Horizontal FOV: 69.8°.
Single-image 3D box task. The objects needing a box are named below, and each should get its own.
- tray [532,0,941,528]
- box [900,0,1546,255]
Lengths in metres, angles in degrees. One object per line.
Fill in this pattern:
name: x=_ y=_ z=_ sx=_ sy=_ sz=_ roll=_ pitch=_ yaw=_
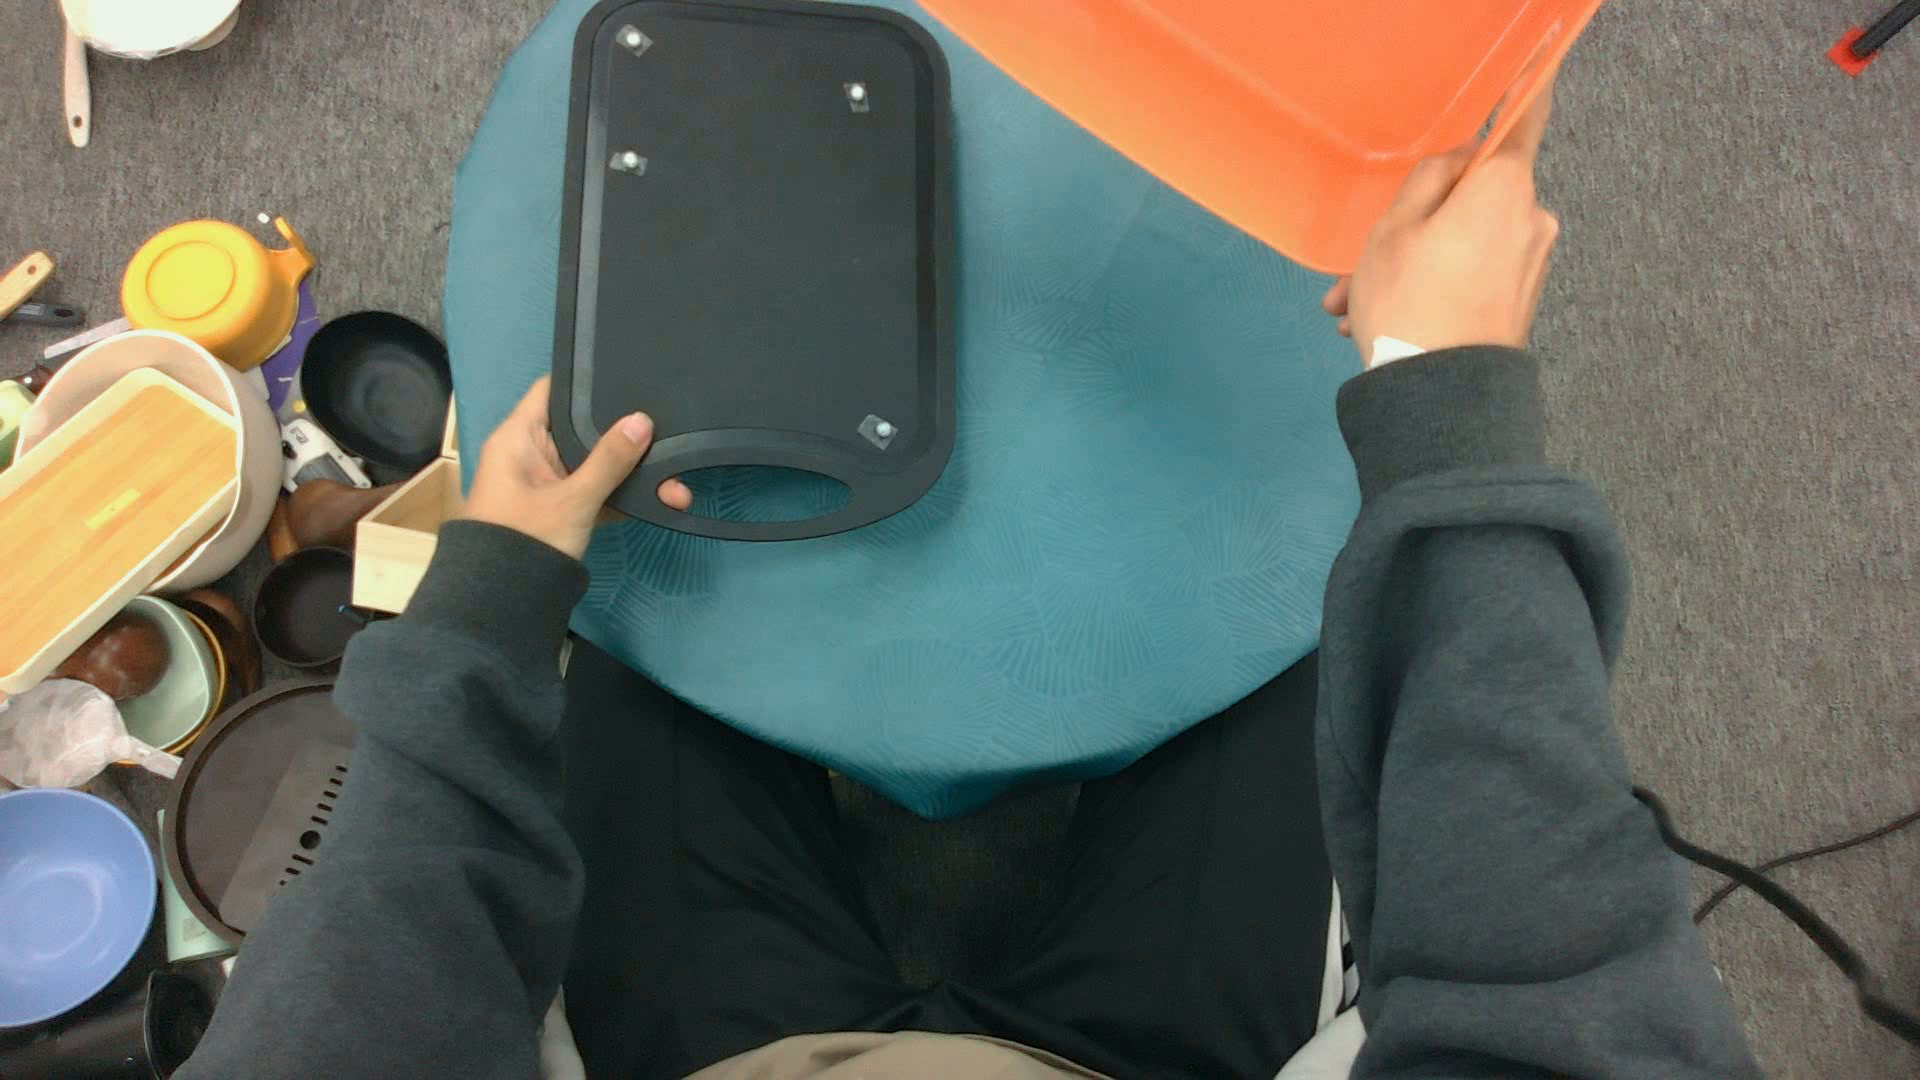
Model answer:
tray: x=-0.115 y=-0.163 z=0.741 sx=0.211 sy=0.010 sz=0.326 roll=1 pitch=74 yaw=-10
box: x=0.109 y=-0.268 z=0.575 sx=0.273 sy=0.198 sz=0.103 roll=35 pitch=47 yaw=5
